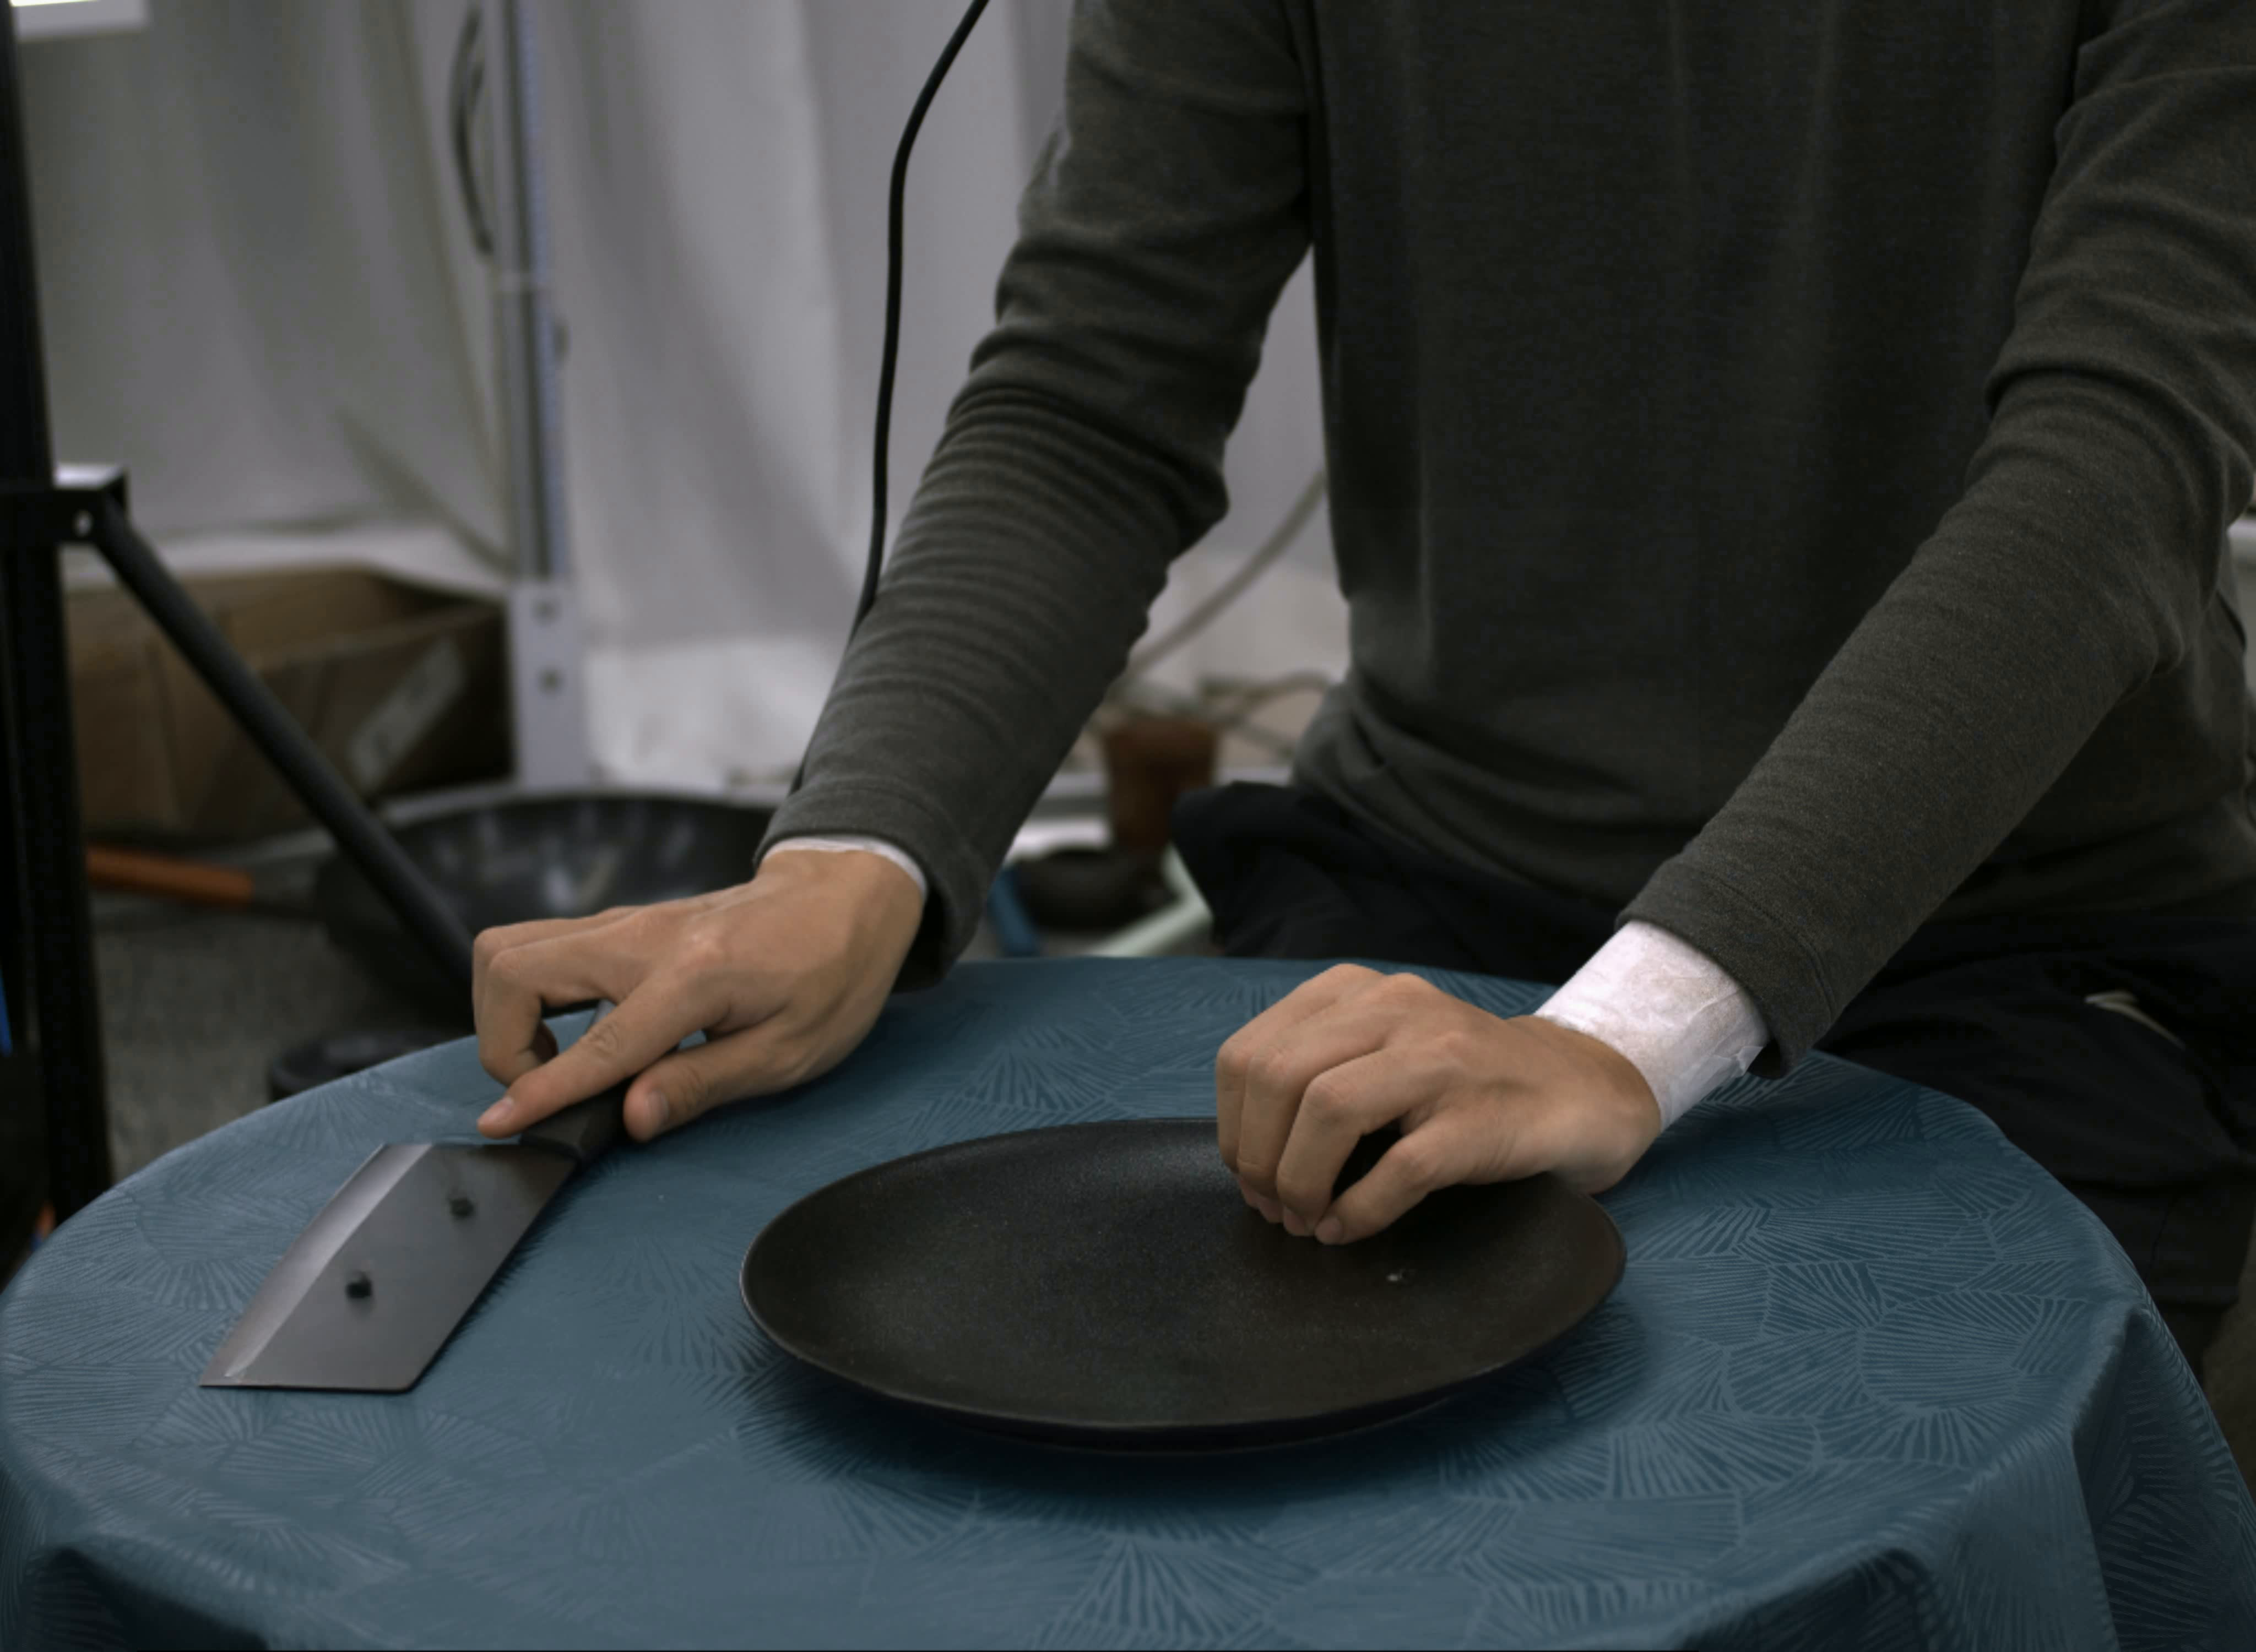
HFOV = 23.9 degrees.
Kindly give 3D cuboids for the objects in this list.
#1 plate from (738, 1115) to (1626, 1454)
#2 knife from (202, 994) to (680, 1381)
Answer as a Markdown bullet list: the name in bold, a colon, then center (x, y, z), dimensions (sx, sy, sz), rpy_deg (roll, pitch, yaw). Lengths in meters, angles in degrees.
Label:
- **plate**: center (0.015, 0.128, 1.449), dimensions (0.243, 0.023, 0.245), rpy_deg (-3, 16, -1)
- **knife**: center (-0.194, 0.106, 1.577), dimensions (0.081, 0.021, 0.300), rpy_deg (-1, 17, 16)
